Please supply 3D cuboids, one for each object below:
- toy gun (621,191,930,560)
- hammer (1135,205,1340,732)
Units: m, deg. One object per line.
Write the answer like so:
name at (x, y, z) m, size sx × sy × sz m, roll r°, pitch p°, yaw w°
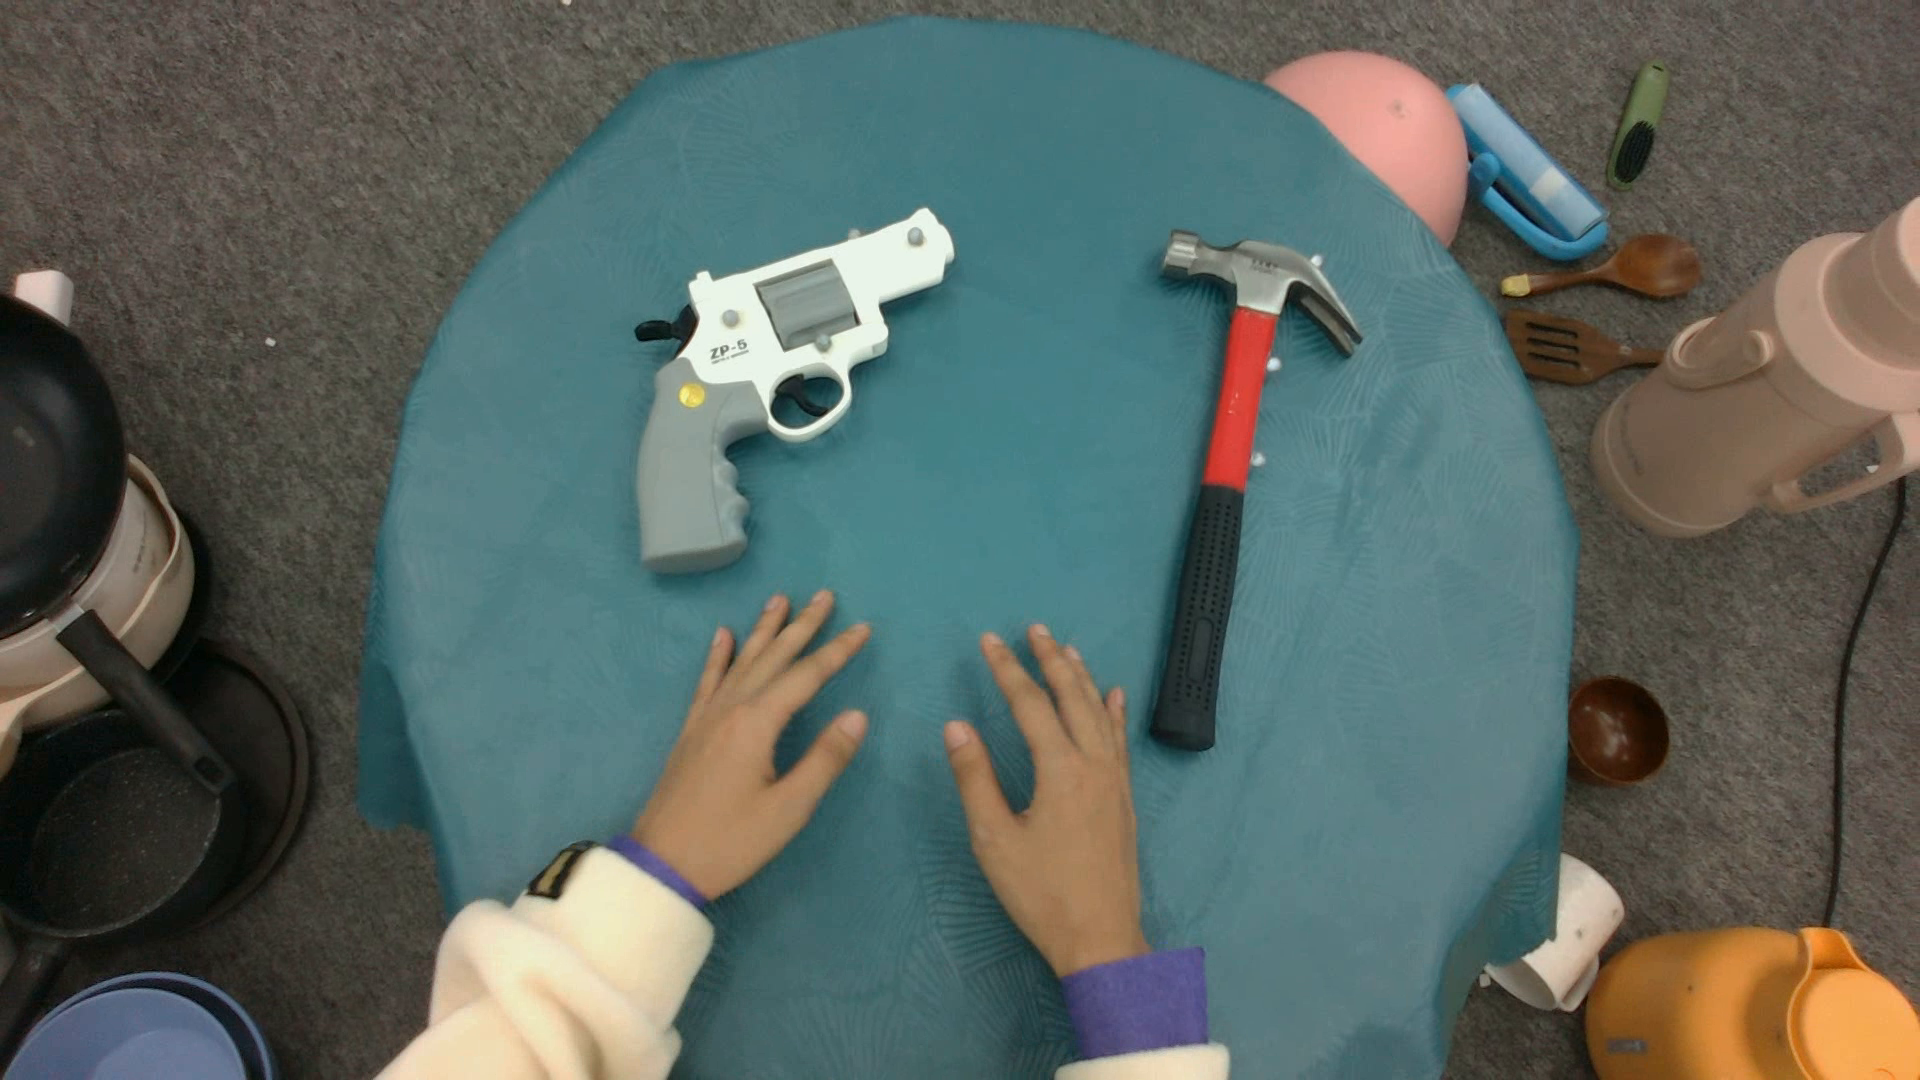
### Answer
toy gun at (-0.090, -0.087, 0.688) m, size 0.209 × 0.038 × 0.142 m, roll -25°, pitch 73°, yaw -14°
hammer at (0.128, -0.039, 0.700) m, size 0.111 × 0.026 × 0.278 m, roll 16°, pitch 69°, yaw -9°
